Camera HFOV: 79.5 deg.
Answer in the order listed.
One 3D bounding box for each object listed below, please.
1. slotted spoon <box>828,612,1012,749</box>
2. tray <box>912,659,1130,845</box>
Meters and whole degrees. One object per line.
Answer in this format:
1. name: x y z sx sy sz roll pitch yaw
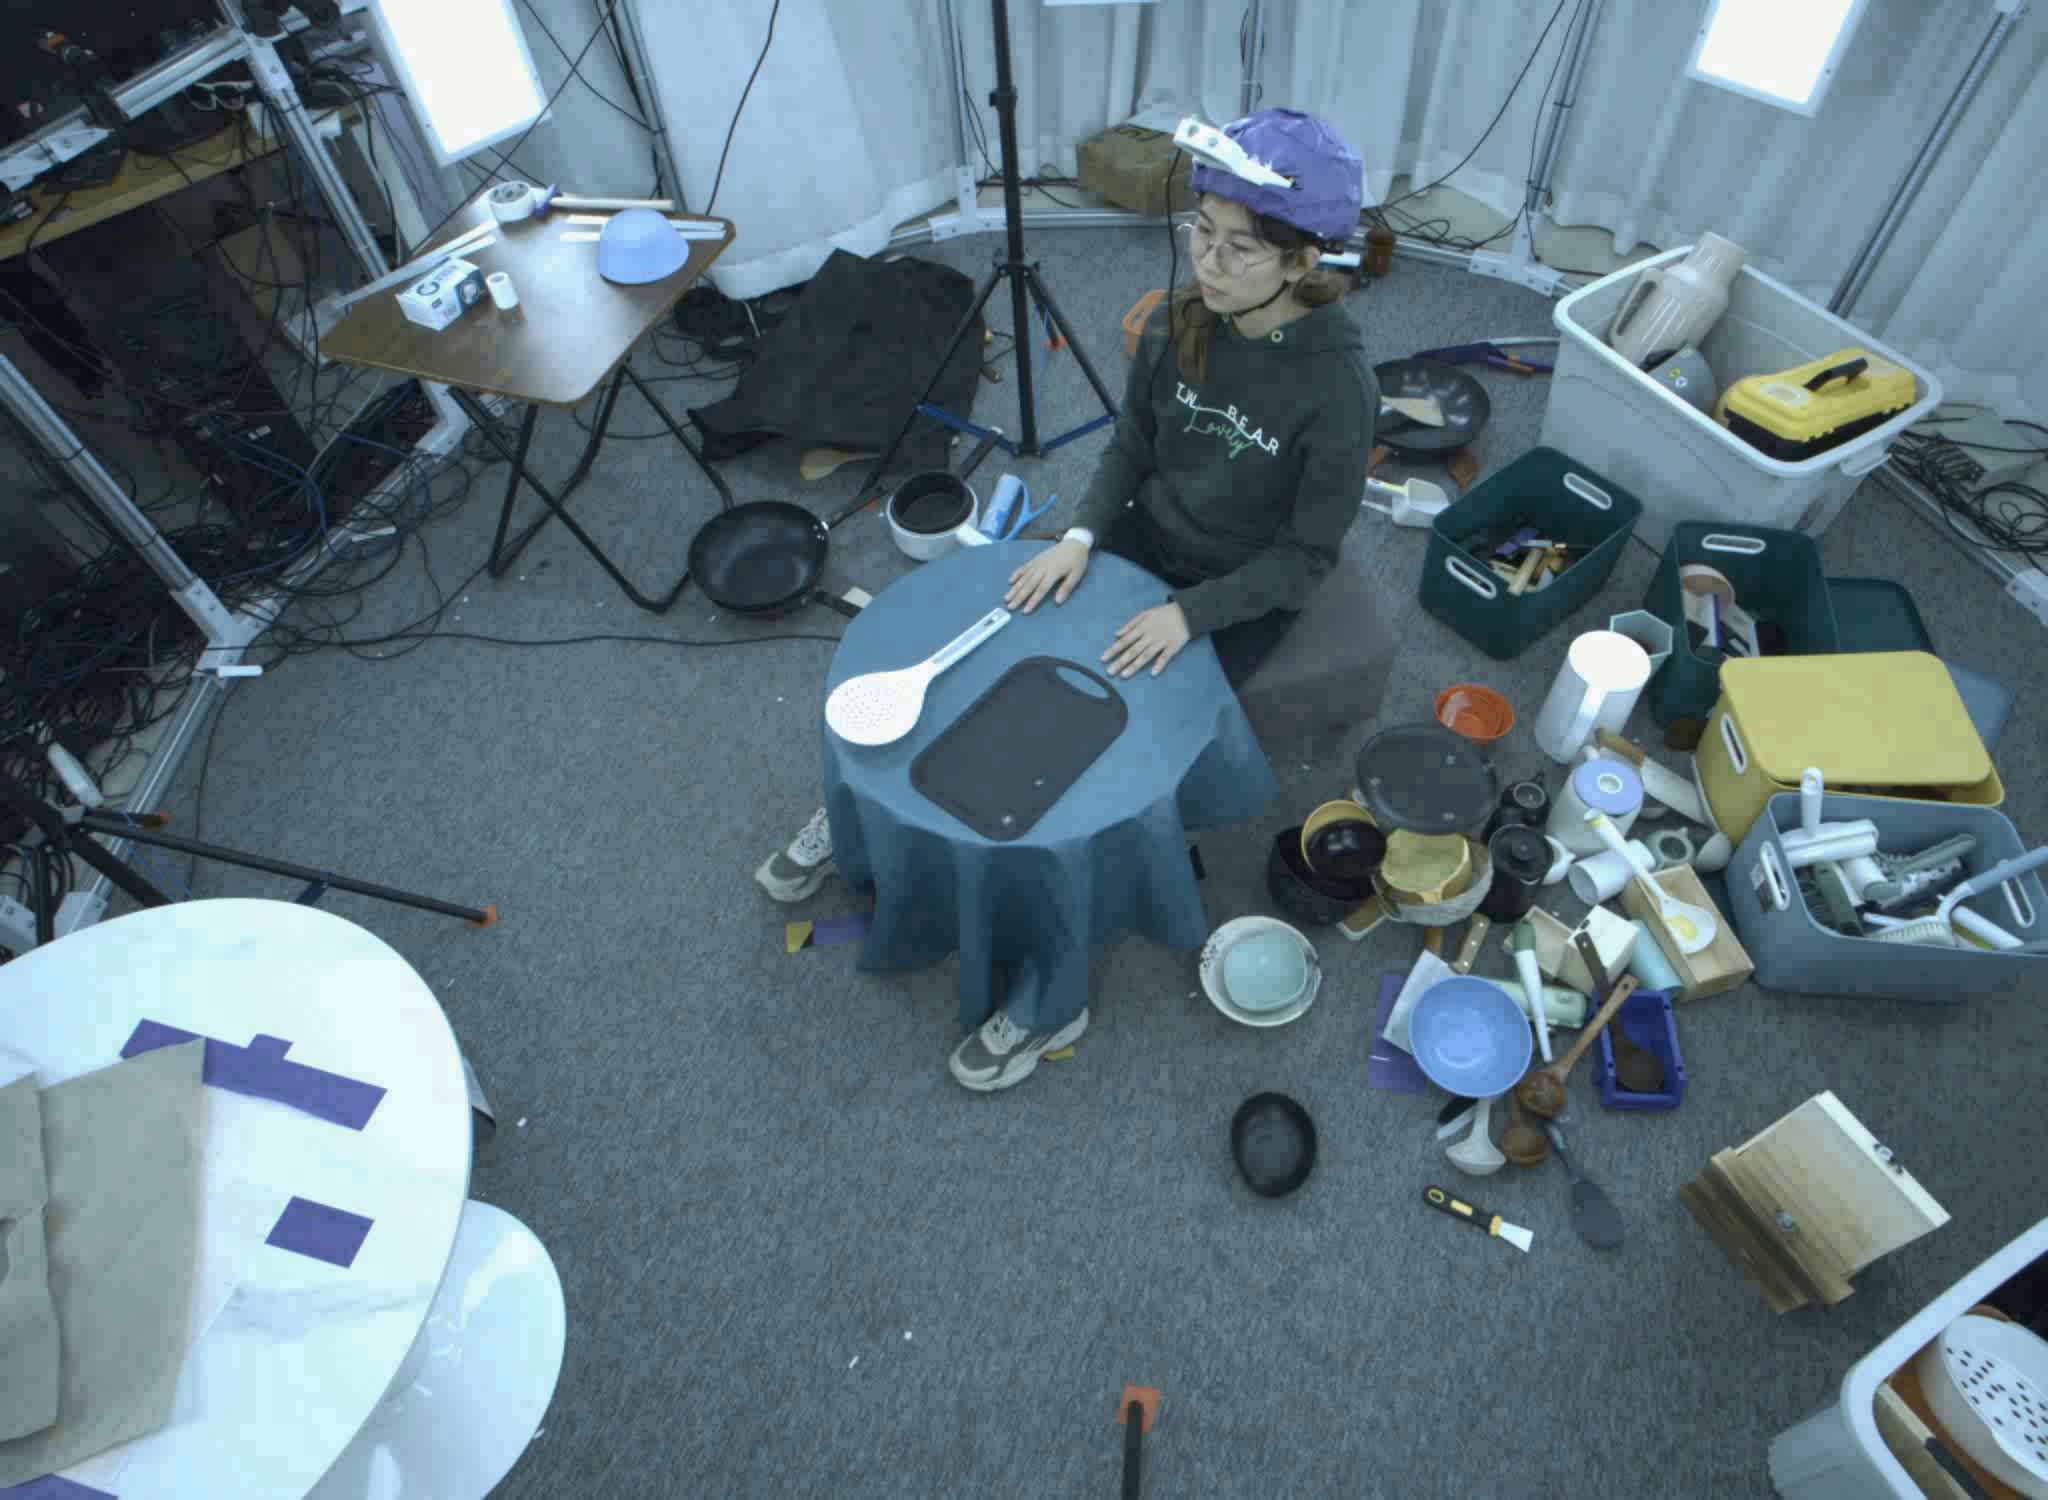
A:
1. slotted spoon: -0.146 -0.113 1.854 0.134 0.046 0.352 37 63 22
2. tray: 0.002 -0.011 1.801 0.207 0.010 0.327 33 62 22
